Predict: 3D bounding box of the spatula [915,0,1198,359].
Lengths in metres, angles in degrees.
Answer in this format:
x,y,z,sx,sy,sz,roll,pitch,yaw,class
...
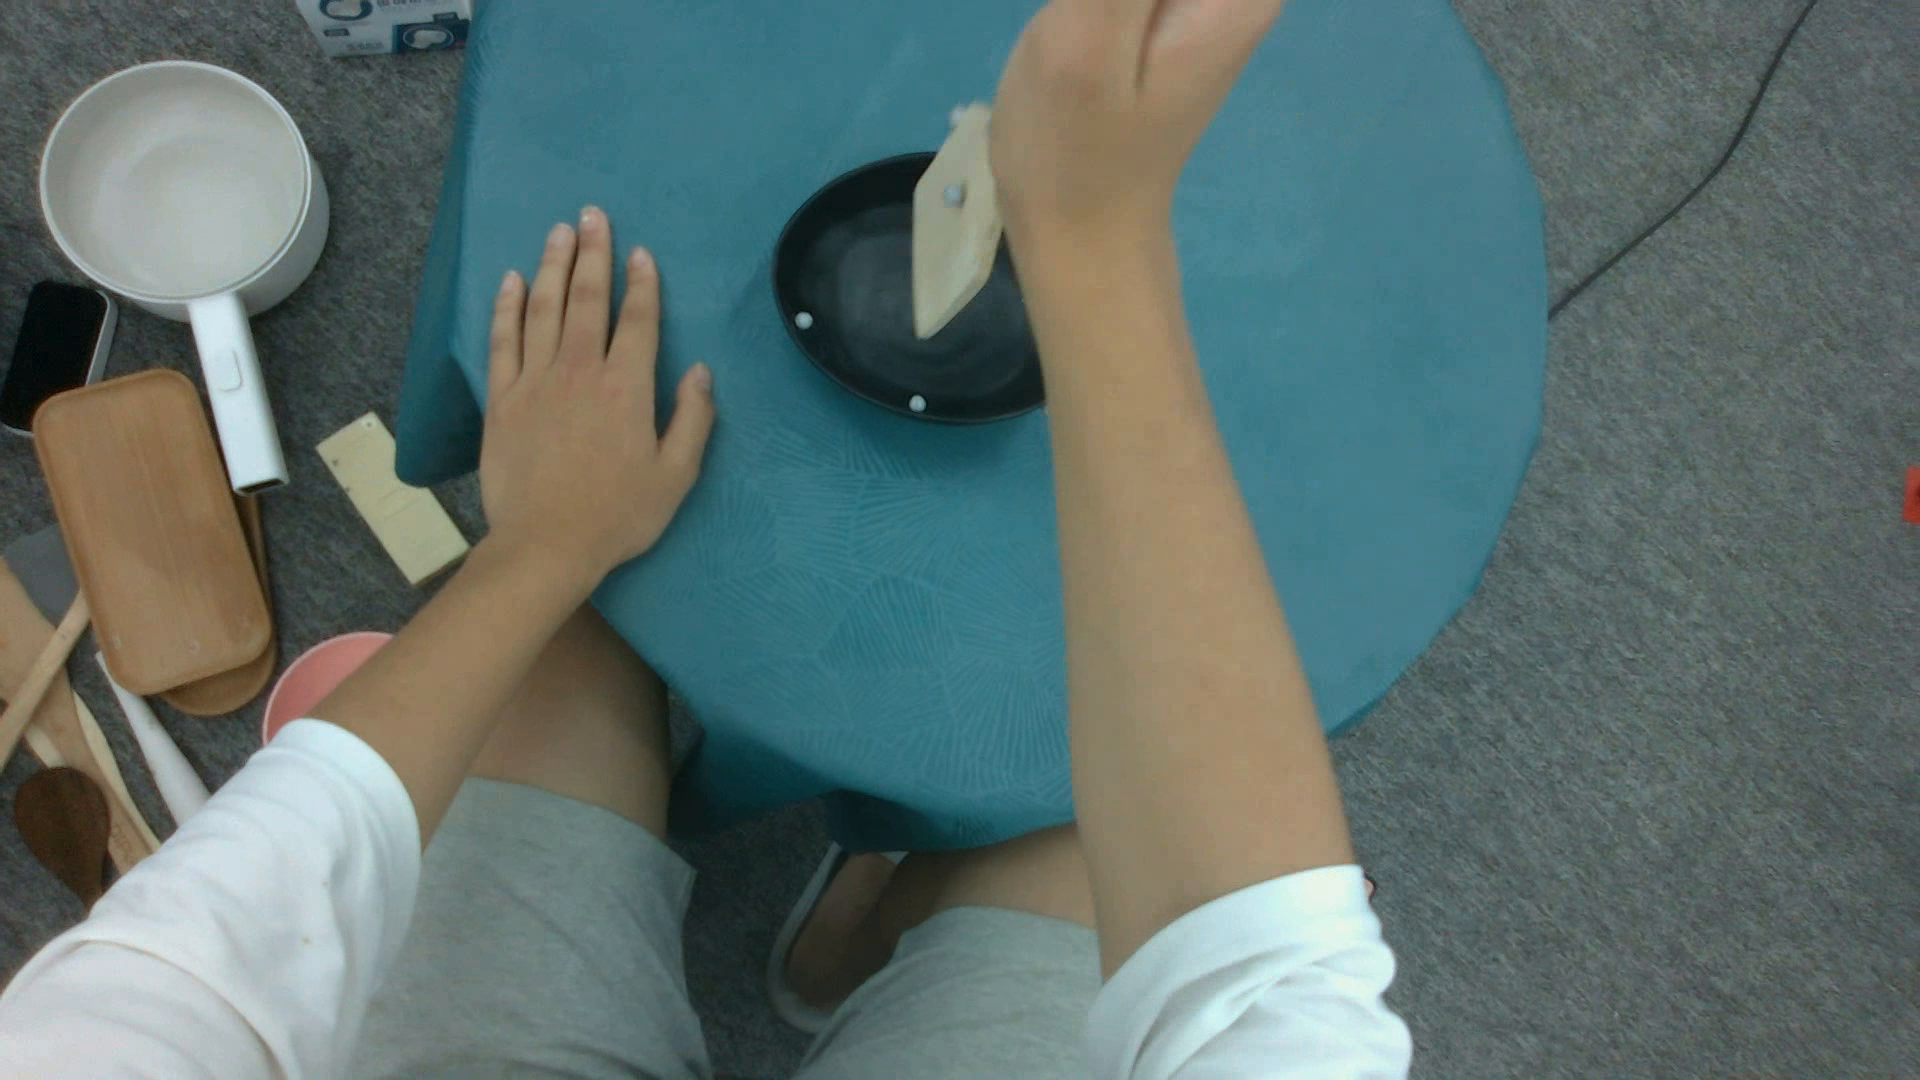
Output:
x,y,z,sx,sy,sz,roll,pitch,yaw,class
0.024,-0.138,0.498,0.010,0.292,0.072,2,81,-16,spatula

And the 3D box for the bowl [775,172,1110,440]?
x,y,z,sx,sy,sz,roll,pitch,yaw,class
-0.011,-0.114,0.716,0.170,0.066,0.137,4,81,-7,bowl
